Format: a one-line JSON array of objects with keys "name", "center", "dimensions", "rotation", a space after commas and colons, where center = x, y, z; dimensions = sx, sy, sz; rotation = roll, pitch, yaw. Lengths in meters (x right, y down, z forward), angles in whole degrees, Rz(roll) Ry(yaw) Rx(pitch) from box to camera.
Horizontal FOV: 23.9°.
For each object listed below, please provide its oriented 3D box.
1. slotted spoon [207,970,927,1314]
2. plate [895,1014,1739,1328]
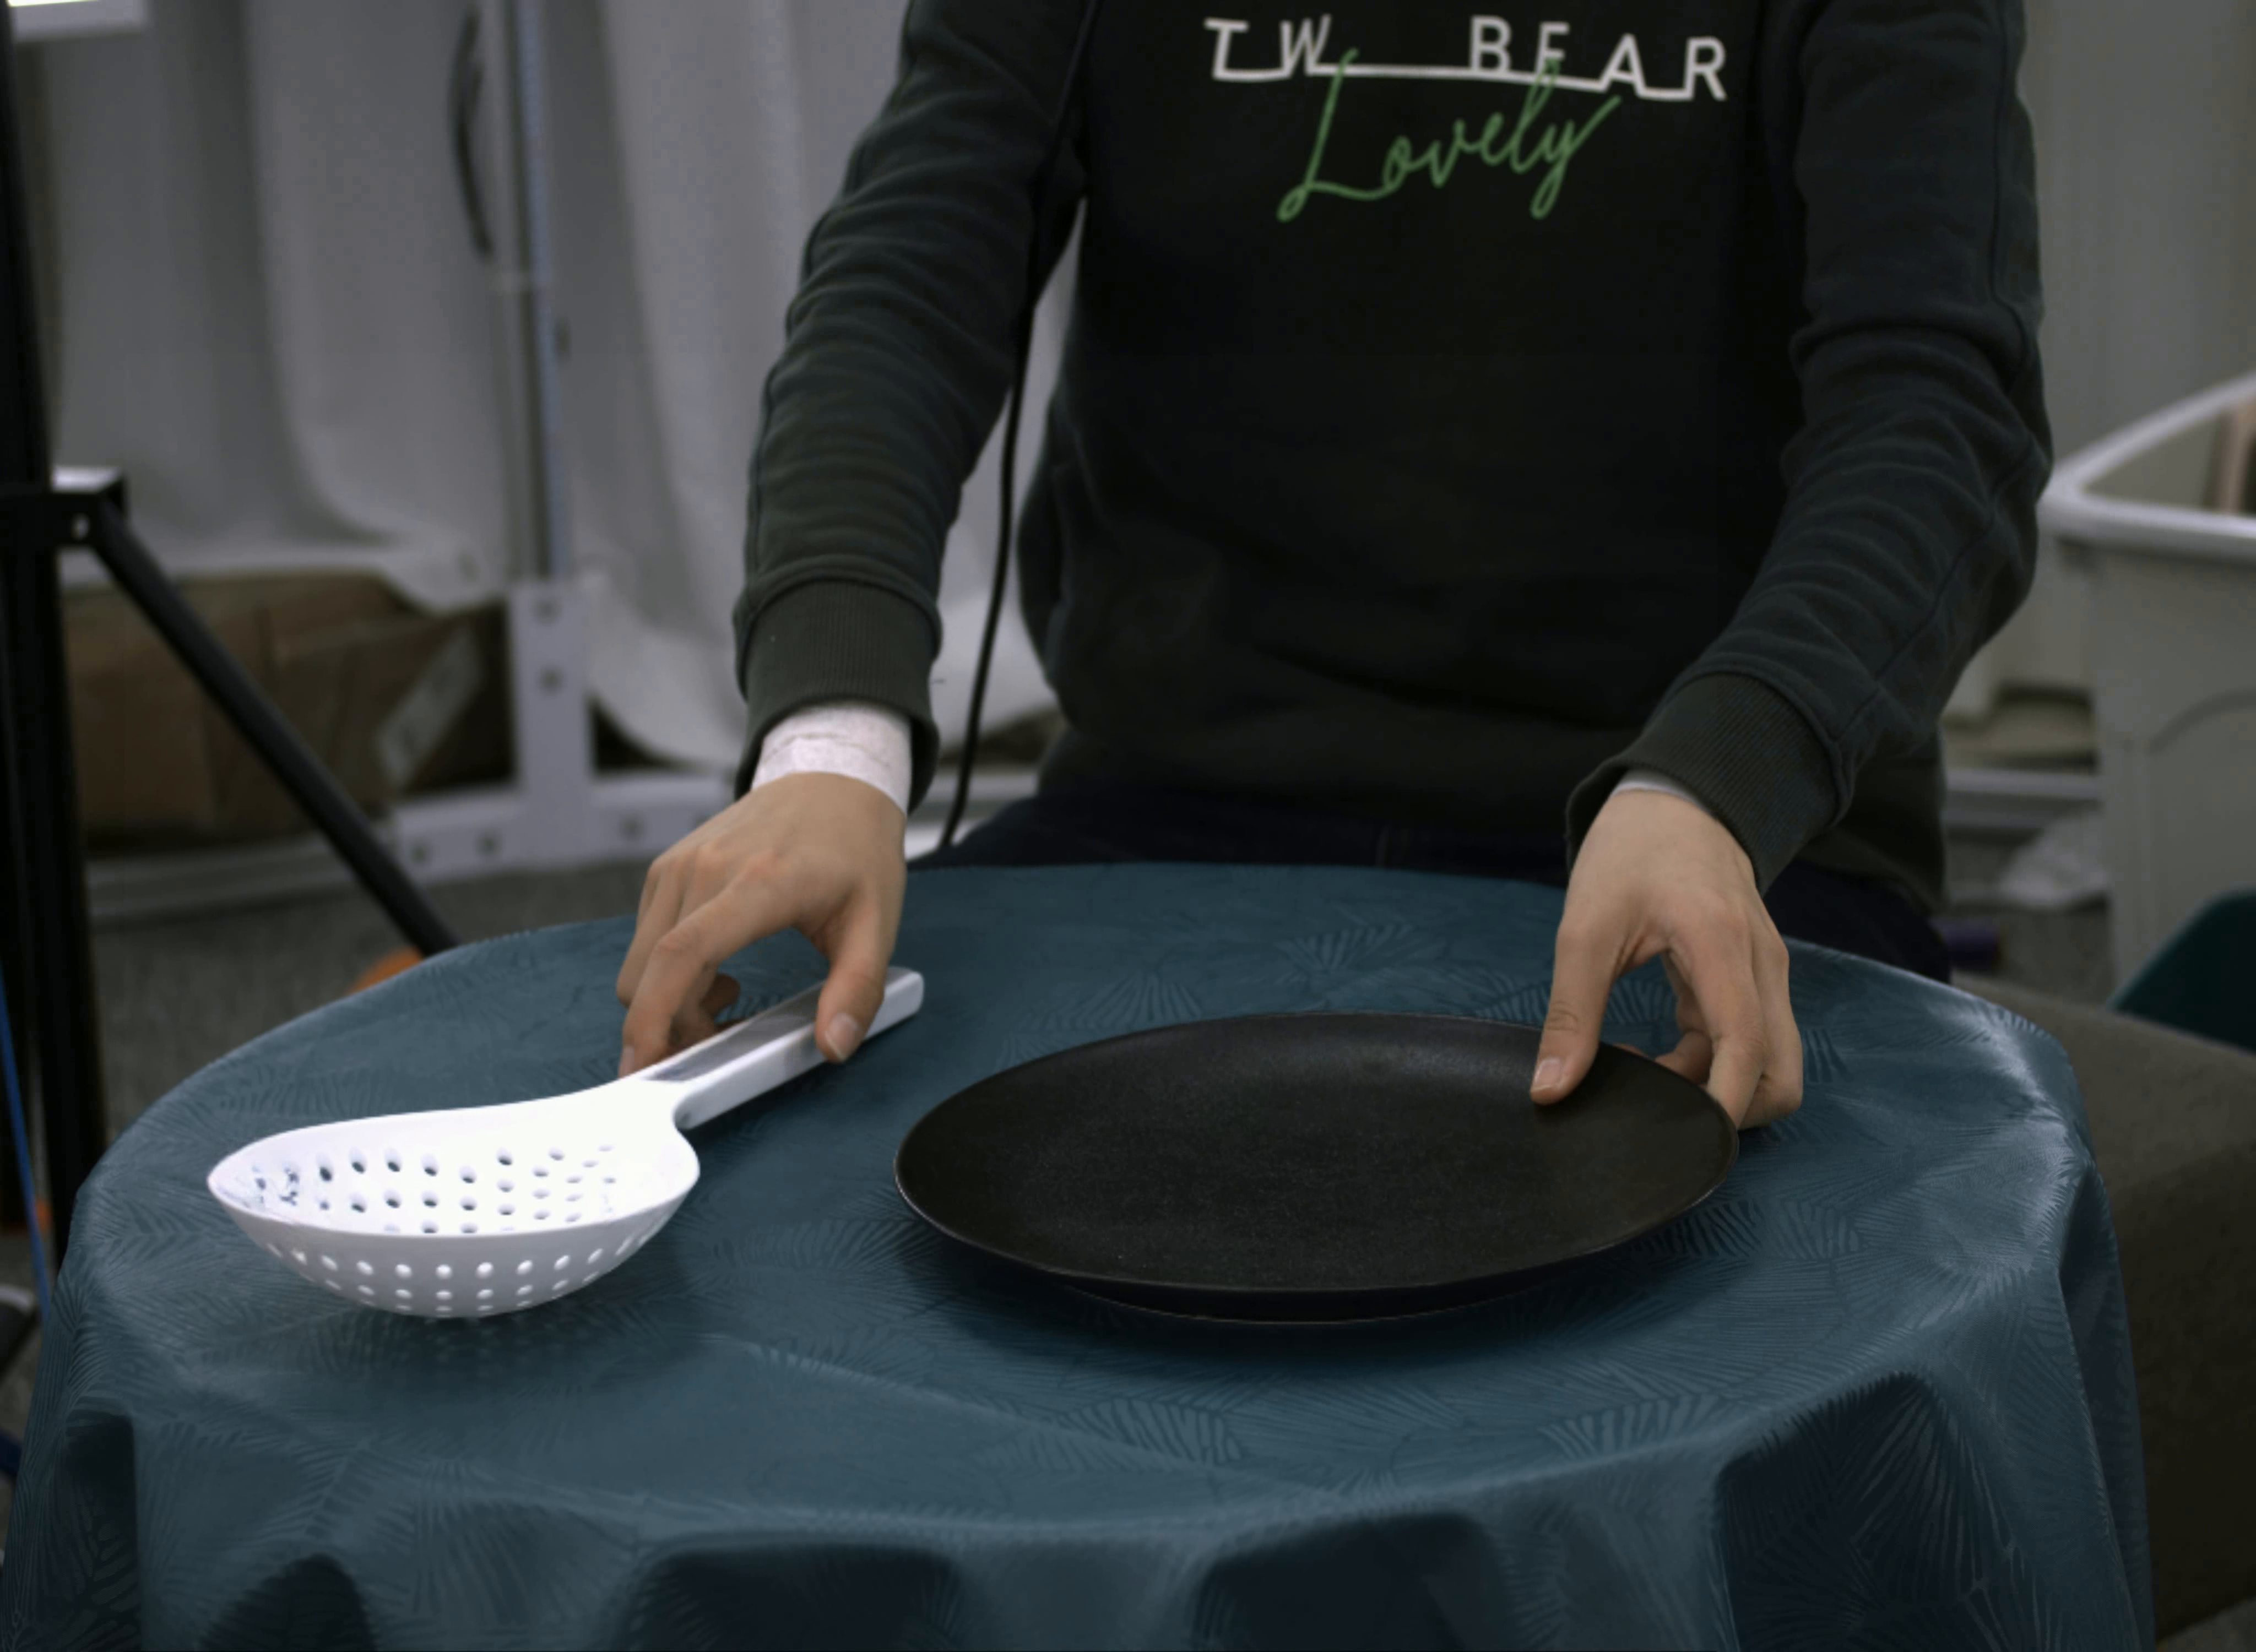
[{"name": "slotted spoon", "center": [-0.145, 0.084, 1.583], "dimensions": [0.138, 0.046, 0.344], "rotation": [6, 17, 23]}, {"name": "plate", "center": [0.055, 0.101, 1.529], "dimensions": [0.243, 0.023, 0.245], "rotation": [-3, 16, -1]}]
